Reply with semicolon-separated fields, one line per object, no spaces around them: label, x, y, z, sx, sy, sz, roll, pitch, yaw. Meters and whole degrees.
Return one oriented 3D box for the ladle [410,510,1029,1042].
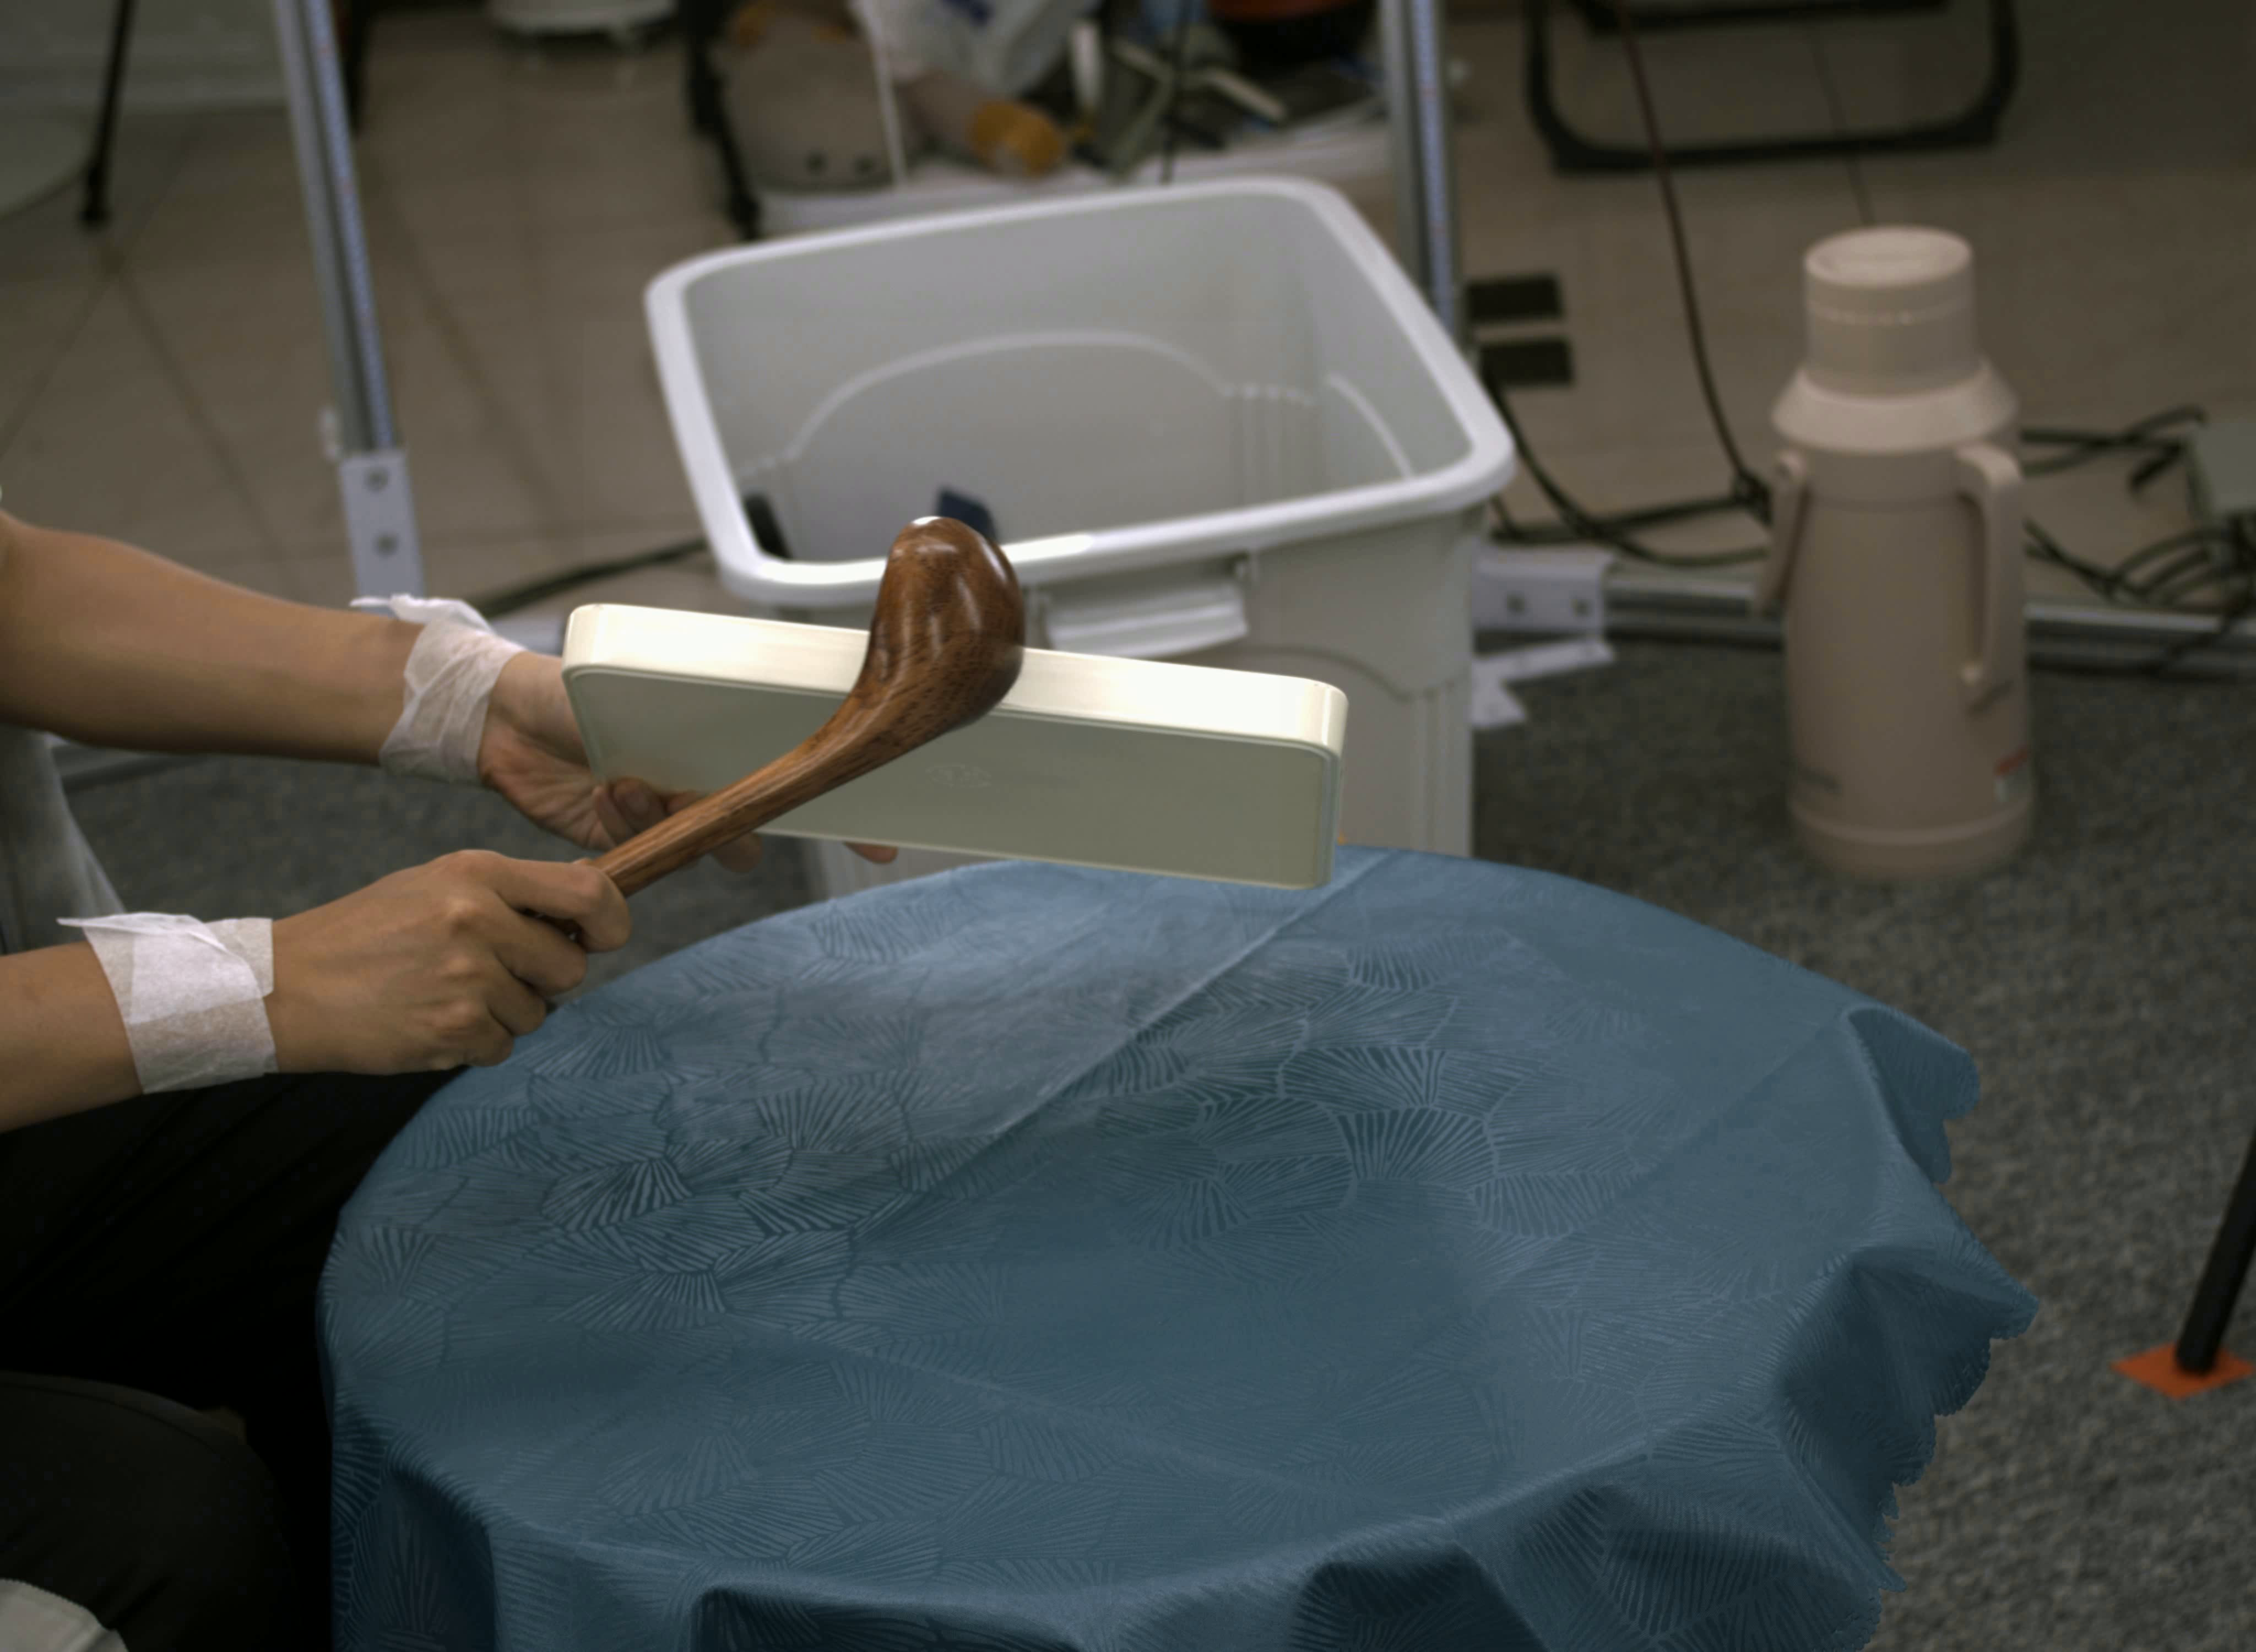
ladle;-0.156;-0.021;2.096;0.274;0.083;0.075;-32;39;5

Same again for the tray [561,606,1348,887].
tray;-0.065;-0.029;2.217;0.300;0.027;0.193;6;-17;3
